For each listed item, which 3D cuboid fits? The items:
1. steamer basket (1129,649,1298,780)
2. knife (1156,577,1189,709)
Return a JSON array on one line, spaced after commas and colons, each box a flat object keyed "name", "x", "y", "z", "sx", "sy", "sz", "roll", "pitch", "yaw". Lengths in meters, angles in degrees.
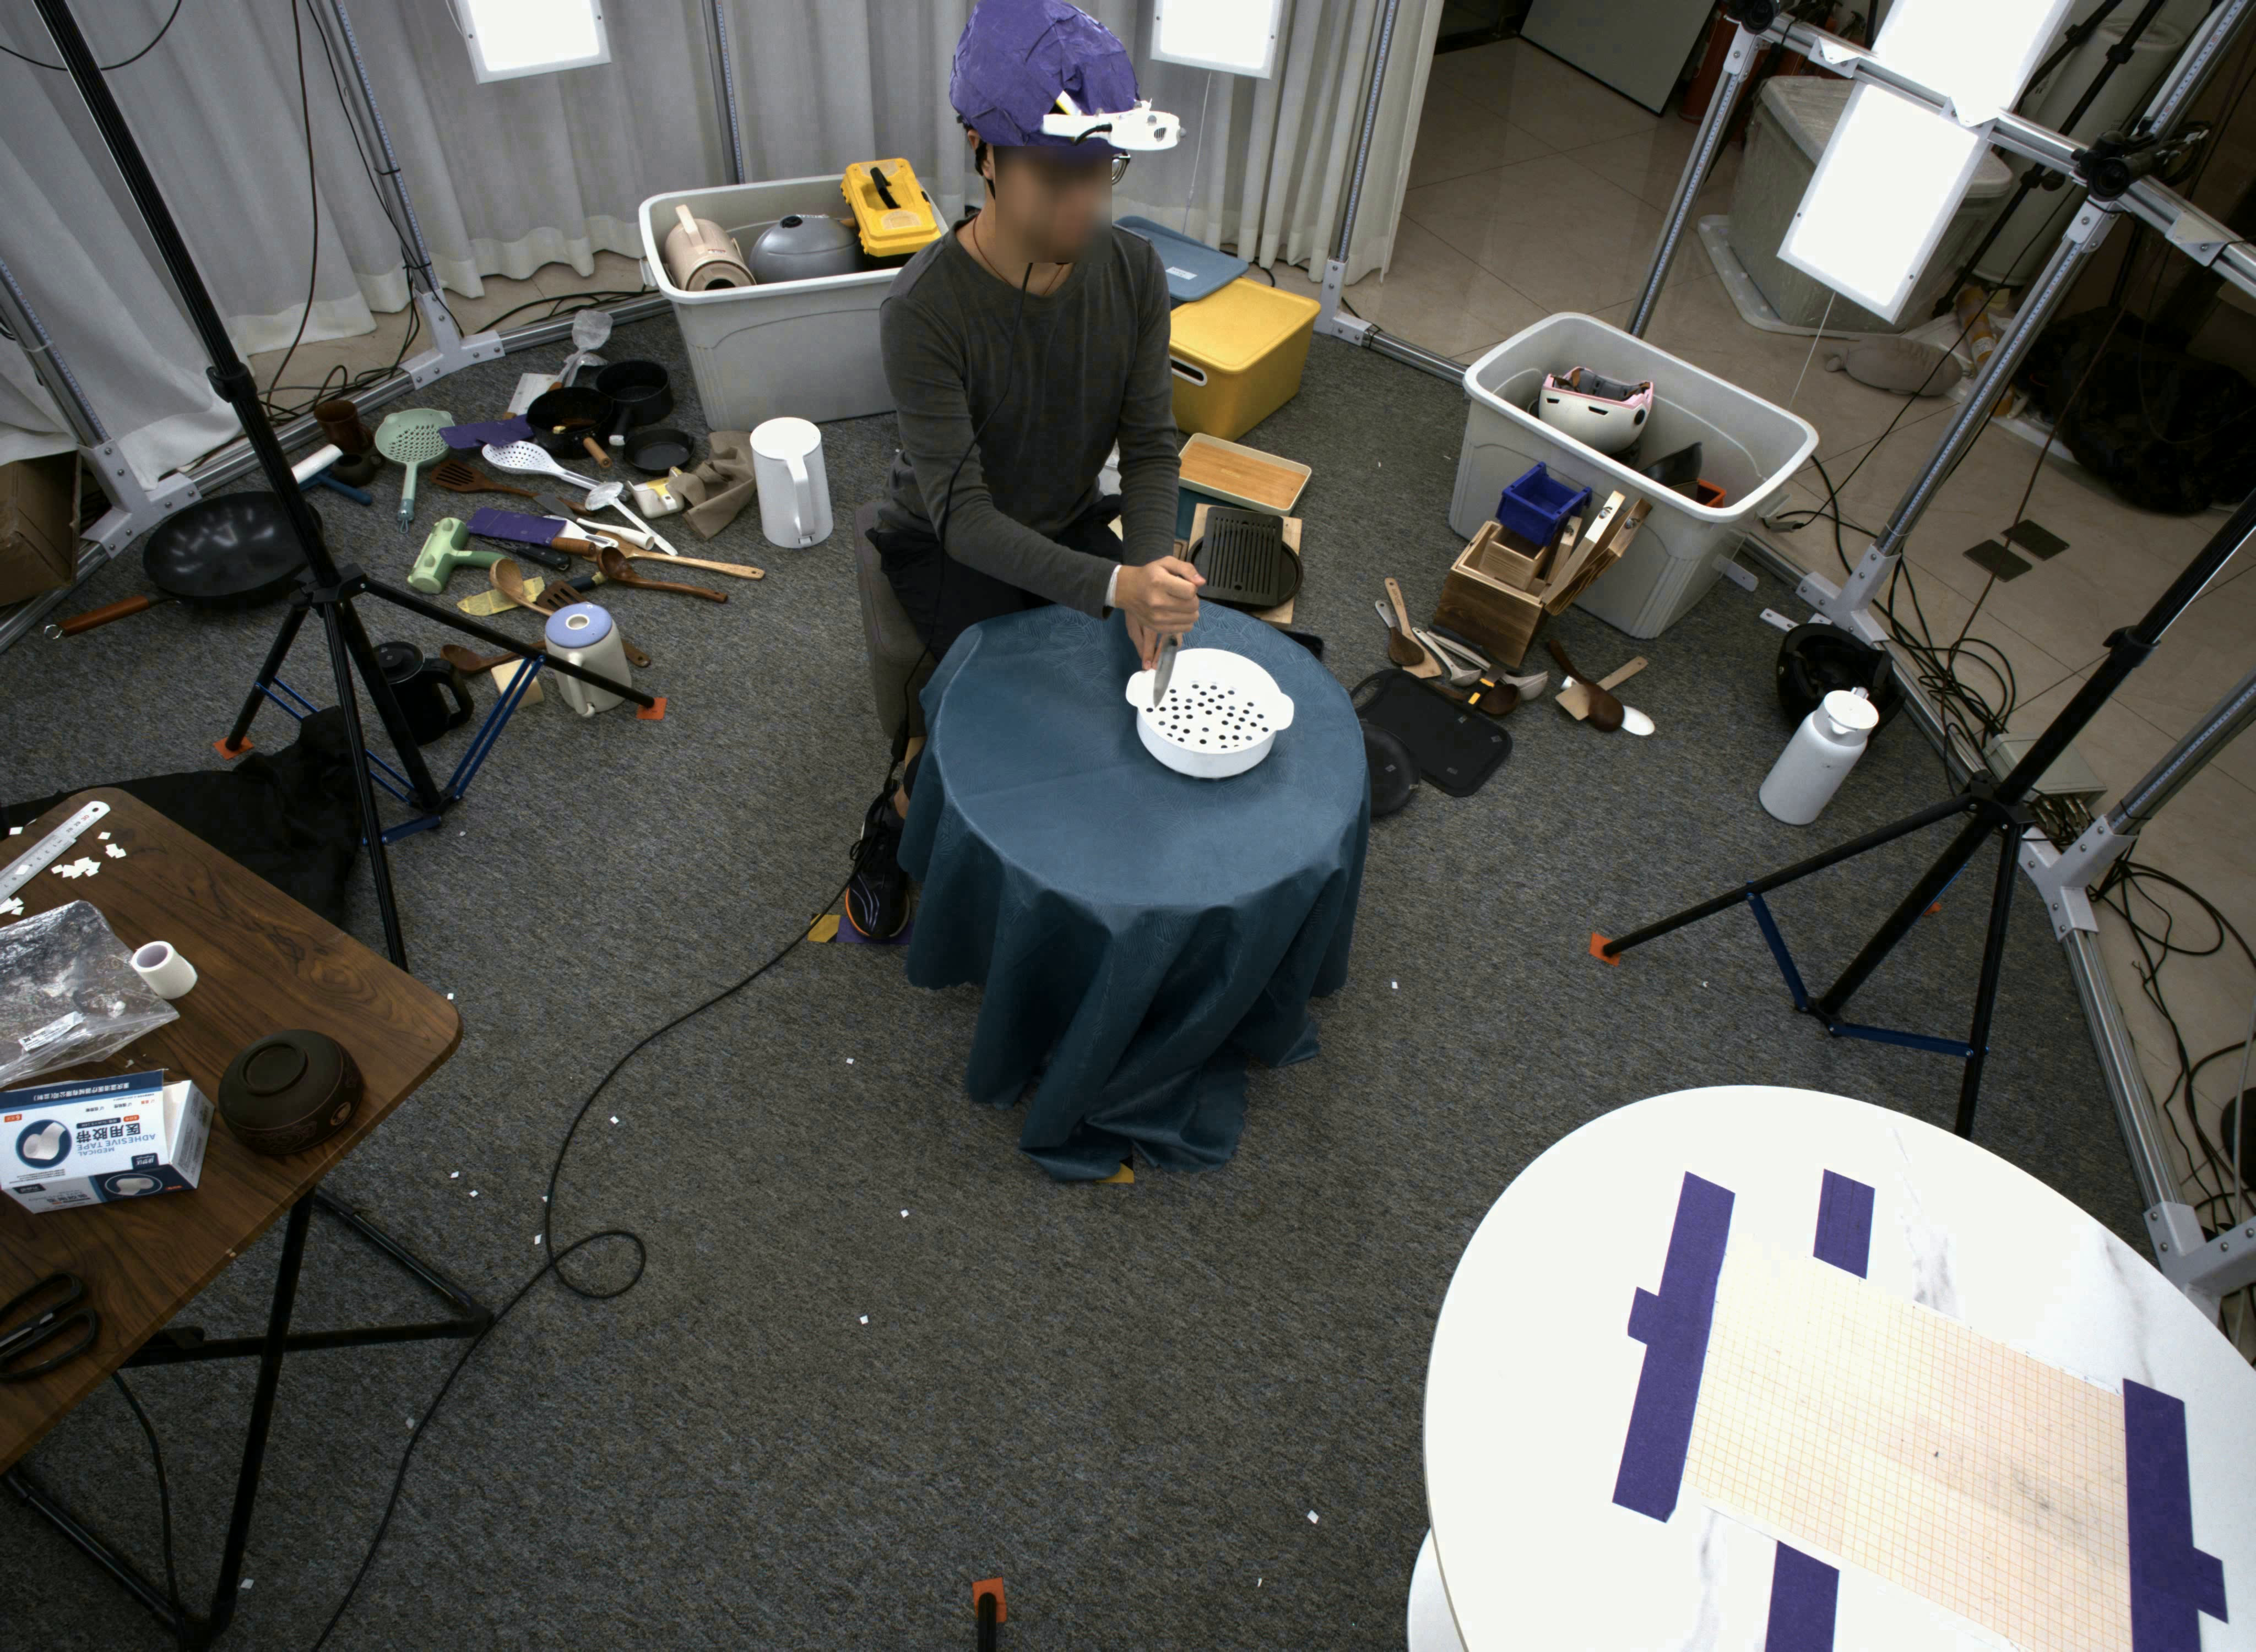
[{"name": "steamer basket", "x": 0.115, "y": -0.153, "z": 1.764, "sx": 0.231, "sy": 0.067, "sz": 0.206, "roll": 10, "pitch": 49, "yaw": 6}, {"name": "knife", "x": 0.054, "y": -0.236, "z": 1.686, "sx": 0.024, "sy": 0.232, "sz": 0.016, "roll": 18, "pitch": 51, "yaw": 6}]
